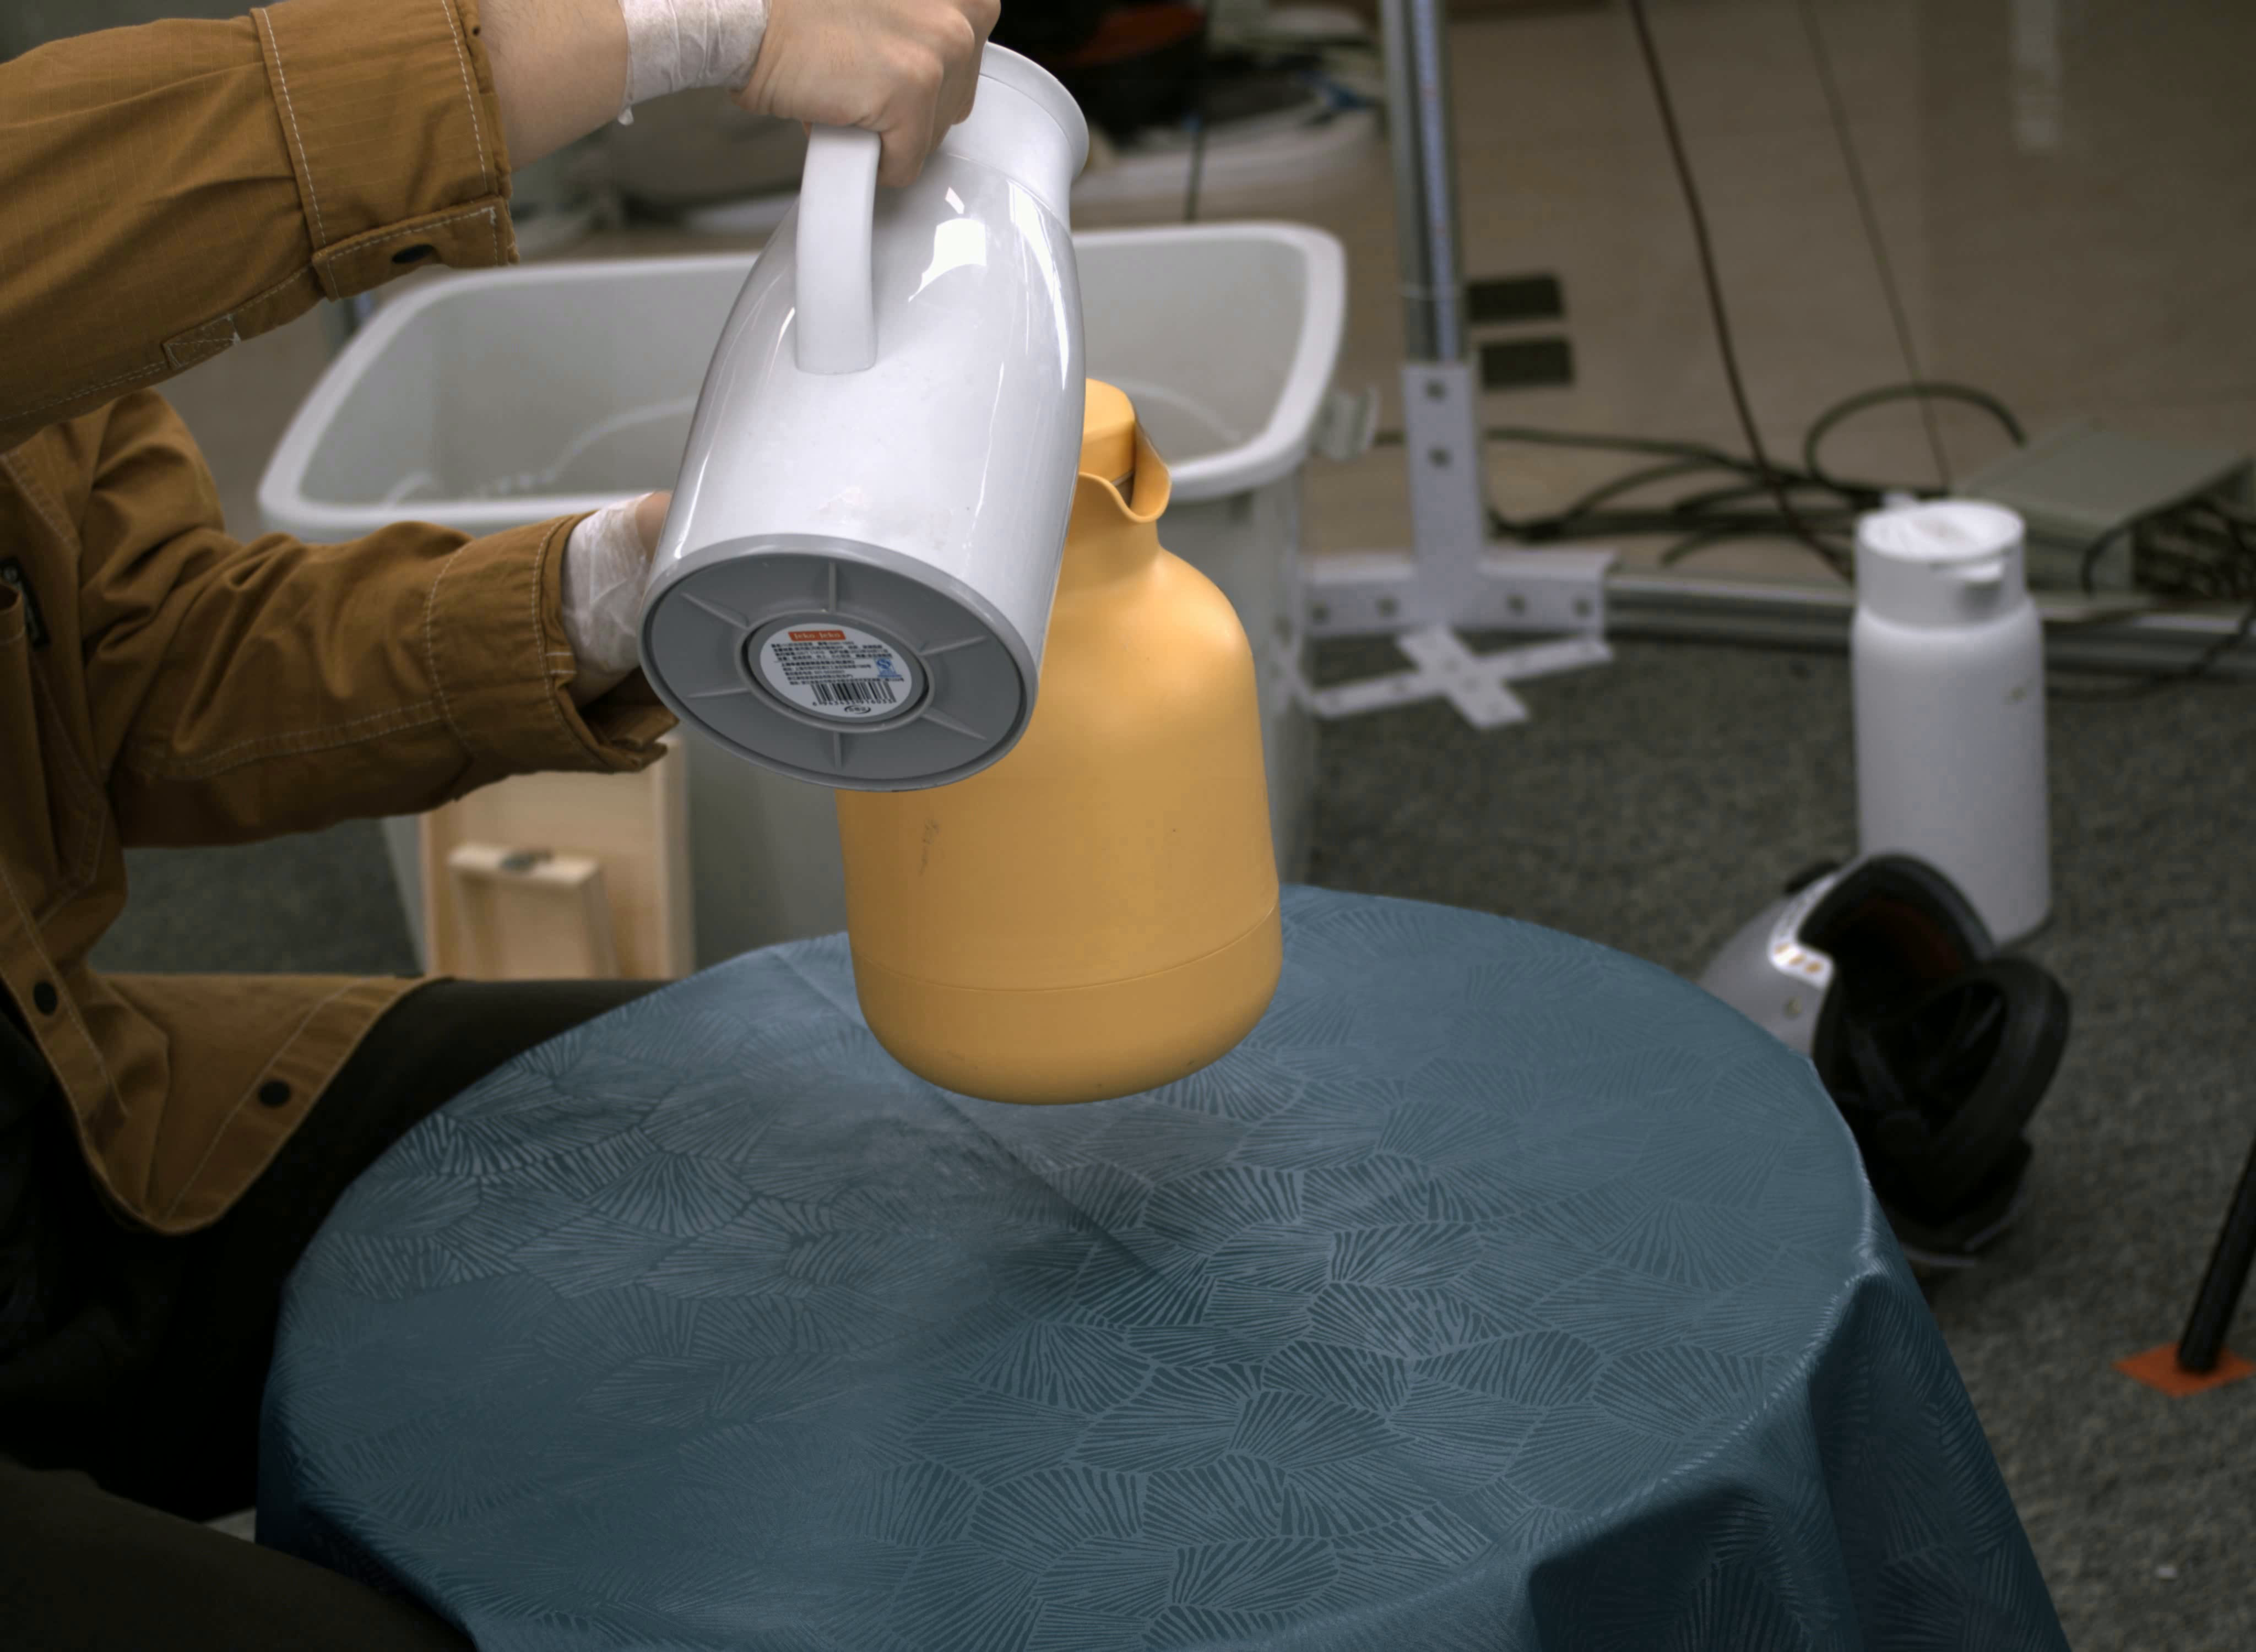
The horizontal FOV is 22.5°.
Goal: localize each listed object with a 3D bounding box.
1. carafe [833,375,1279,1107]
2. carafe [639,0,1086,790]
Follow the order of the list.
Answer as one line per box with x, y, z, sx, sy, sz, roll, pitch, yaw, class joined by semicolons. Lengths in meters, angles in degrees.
-0.042;-0.041;2.117;0.162;0.264;0.200;-21;29;-34;carafe
-0.078;-0.161;1.888;0.132;0.171;0.244;2;57;13;carafe
